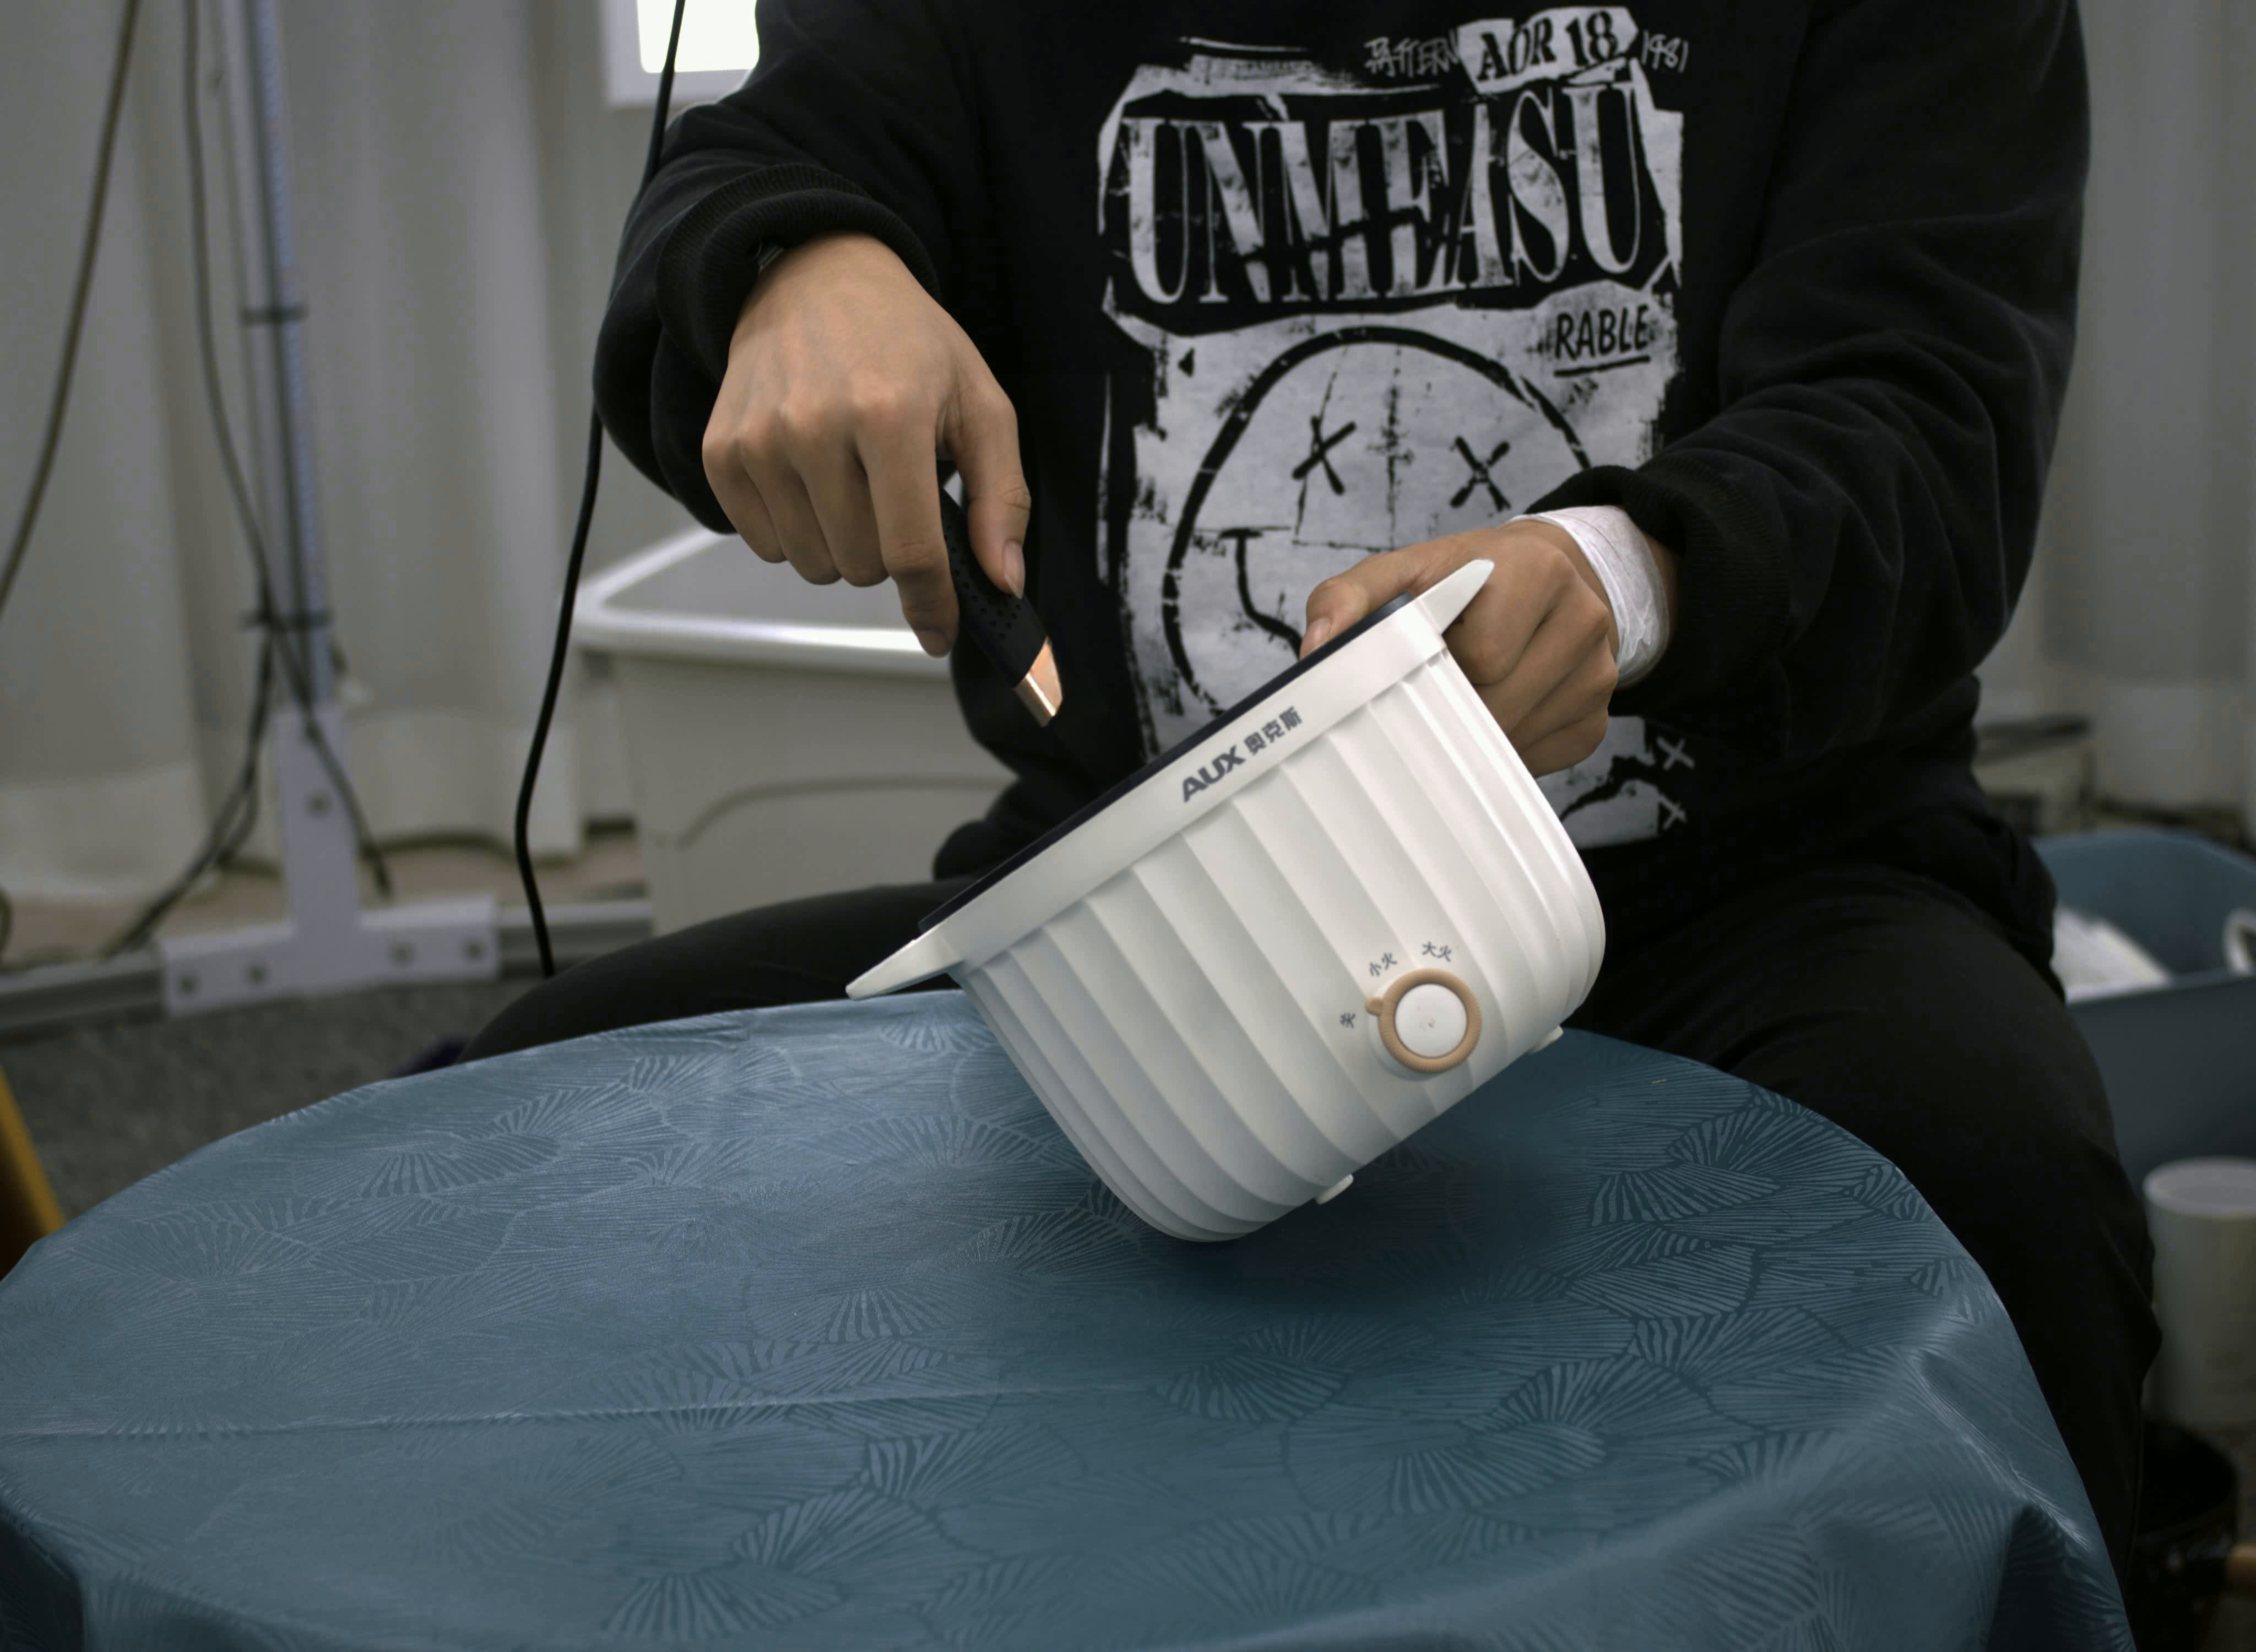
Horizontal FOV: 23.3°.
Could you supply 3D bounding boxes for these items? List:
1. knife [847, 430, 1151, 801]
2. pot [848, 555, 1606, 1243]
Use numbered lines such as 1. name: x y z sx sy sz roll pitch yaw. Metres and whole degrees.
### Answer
1. knife: -0.016 -0.035 1.733 0.026 0.226 0.017 -35 -3 -42
2. pot: 0.050 0.033 1.649 0.240 0.143 0.190 -35 -4 -13
